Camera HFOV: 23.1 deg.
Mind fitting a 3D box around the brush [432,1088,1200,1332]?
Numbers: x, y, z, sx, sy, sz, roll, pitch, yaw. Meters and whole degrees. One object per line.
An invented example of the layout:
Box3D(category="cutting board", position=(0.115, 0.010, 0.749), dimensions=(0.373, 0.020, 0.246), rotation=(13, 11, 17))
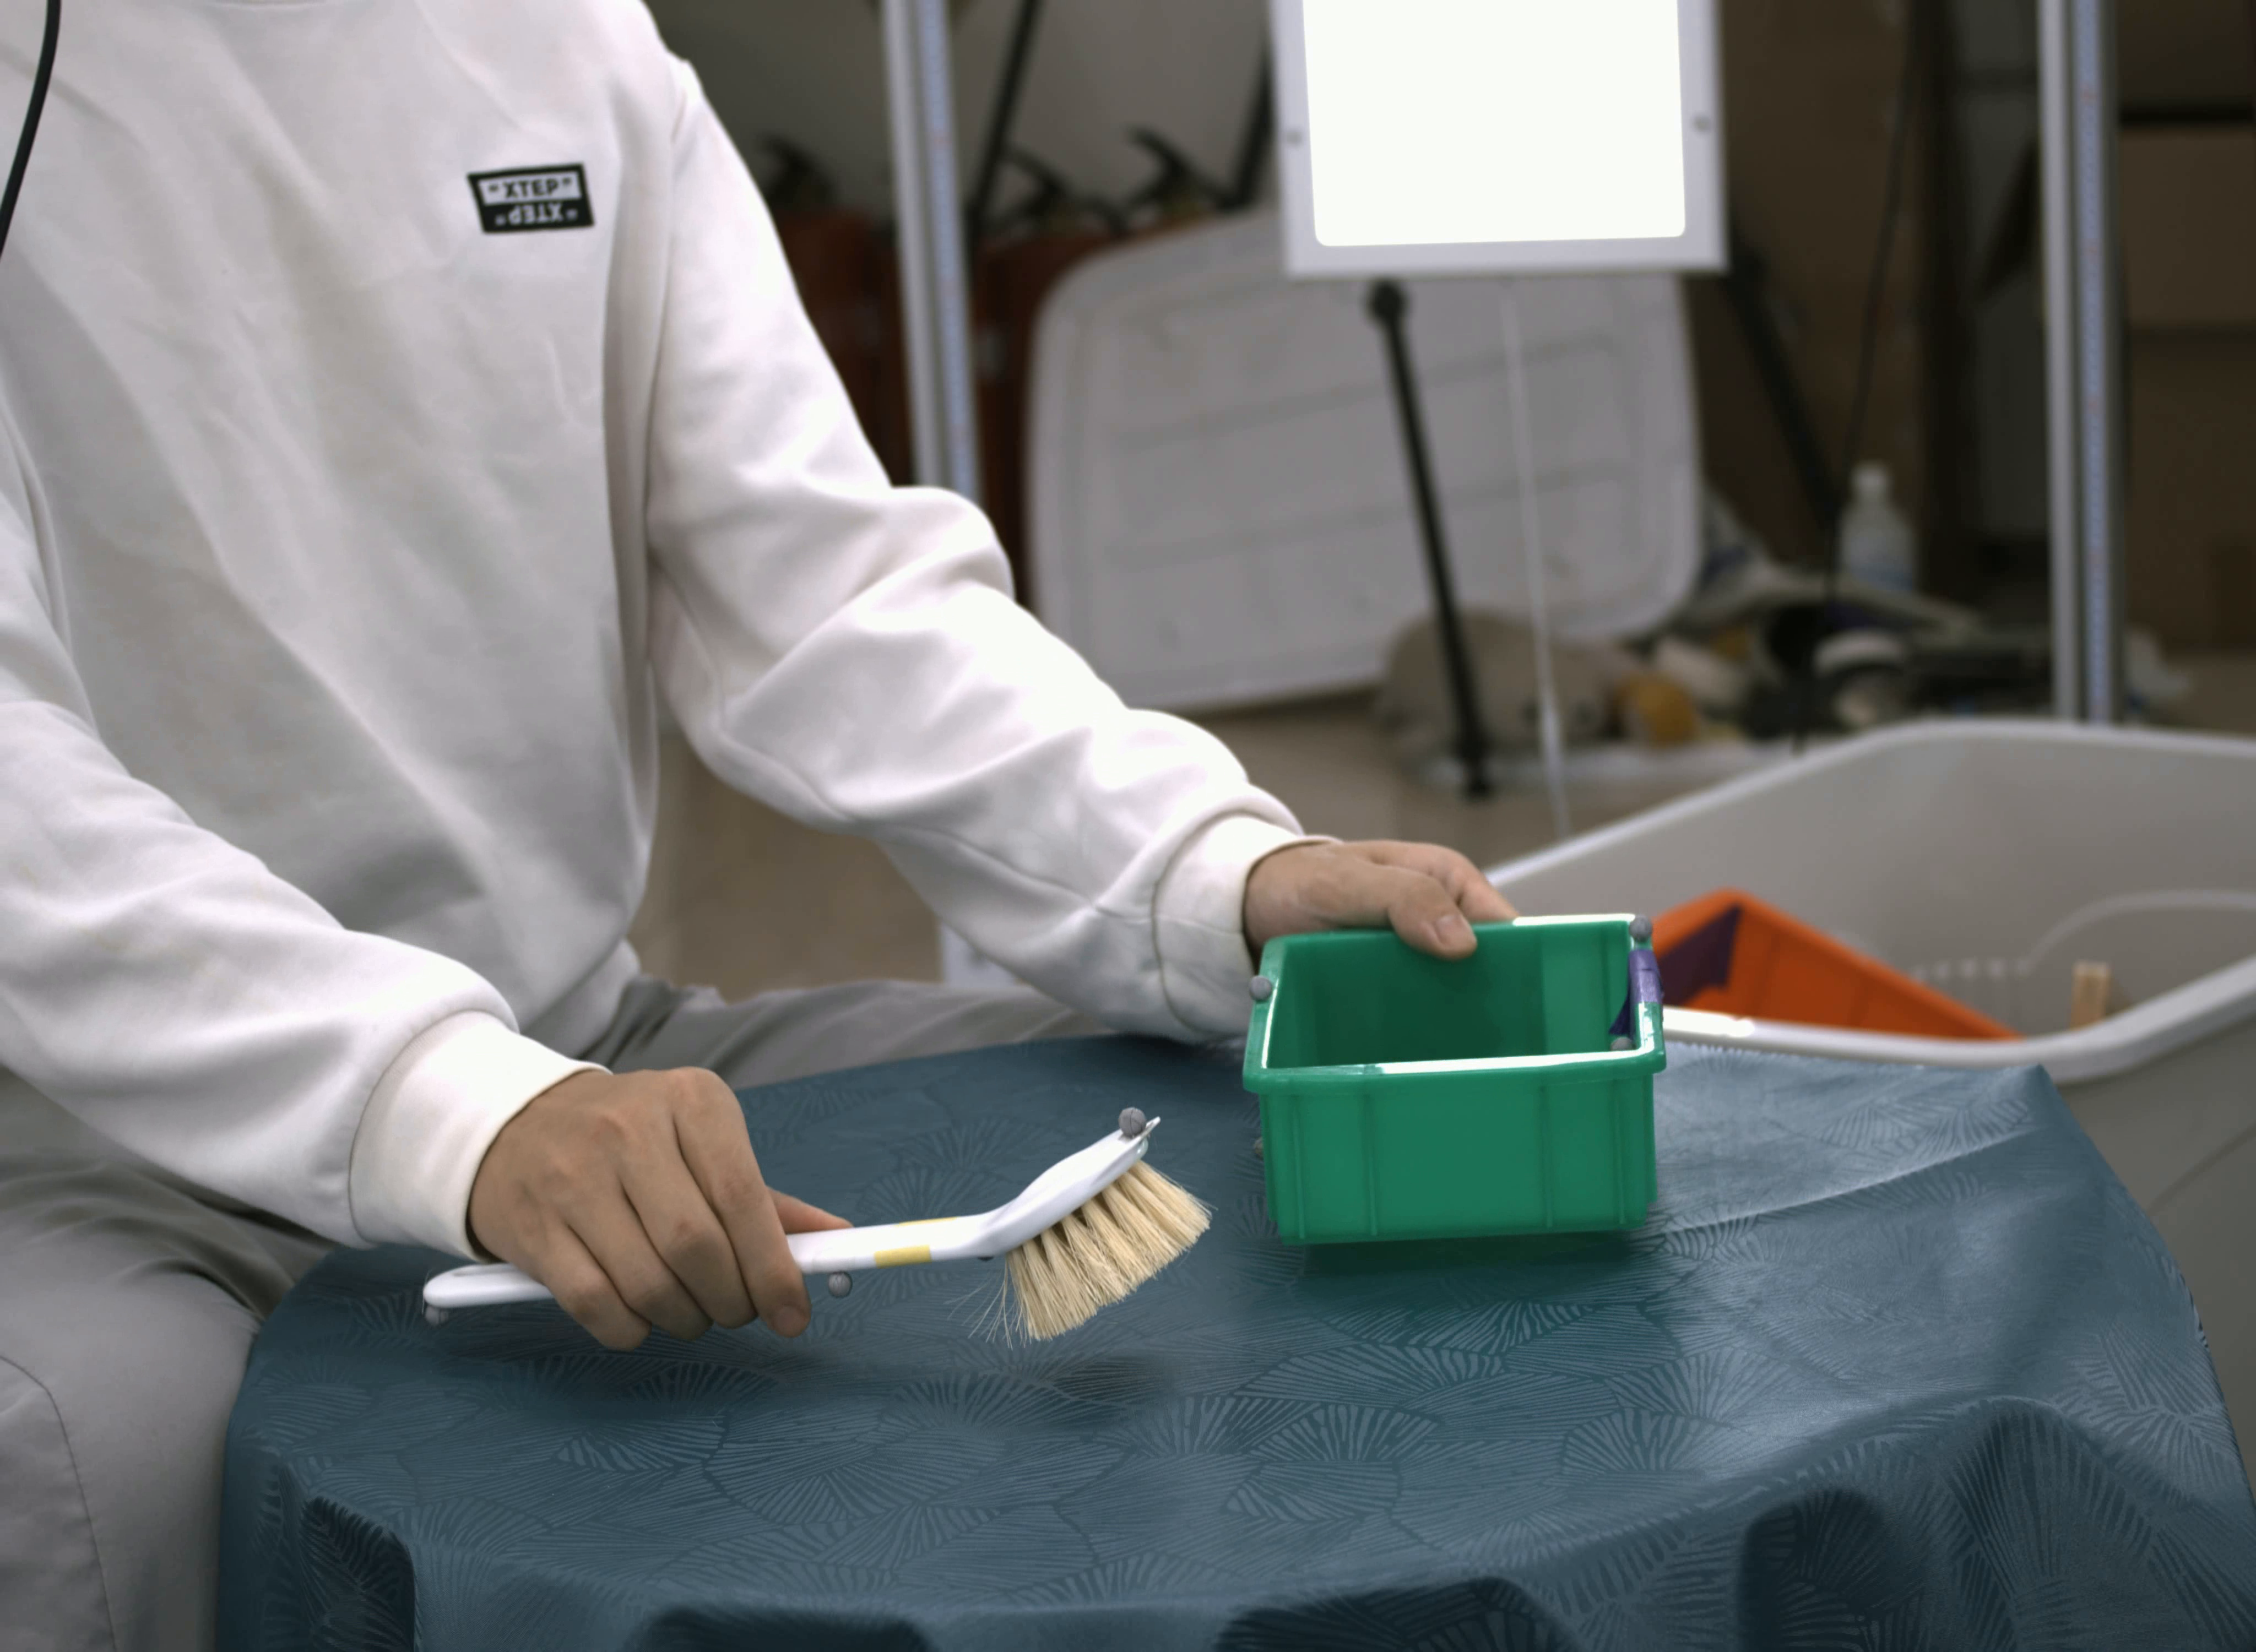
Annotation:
Box3D(category="brush", position=(-0.099, 0.145, 1.748), dimensions=(0.270, 0.056, 0.067), rotation=(-18, -1, 23))

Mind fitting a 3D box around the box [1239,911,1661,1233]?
Box3D(category="box", position=(0.111, 0.082, 1.861), dimensions=(0.139, 0.065, 0.209), rotation=(-3, 10, 5))
